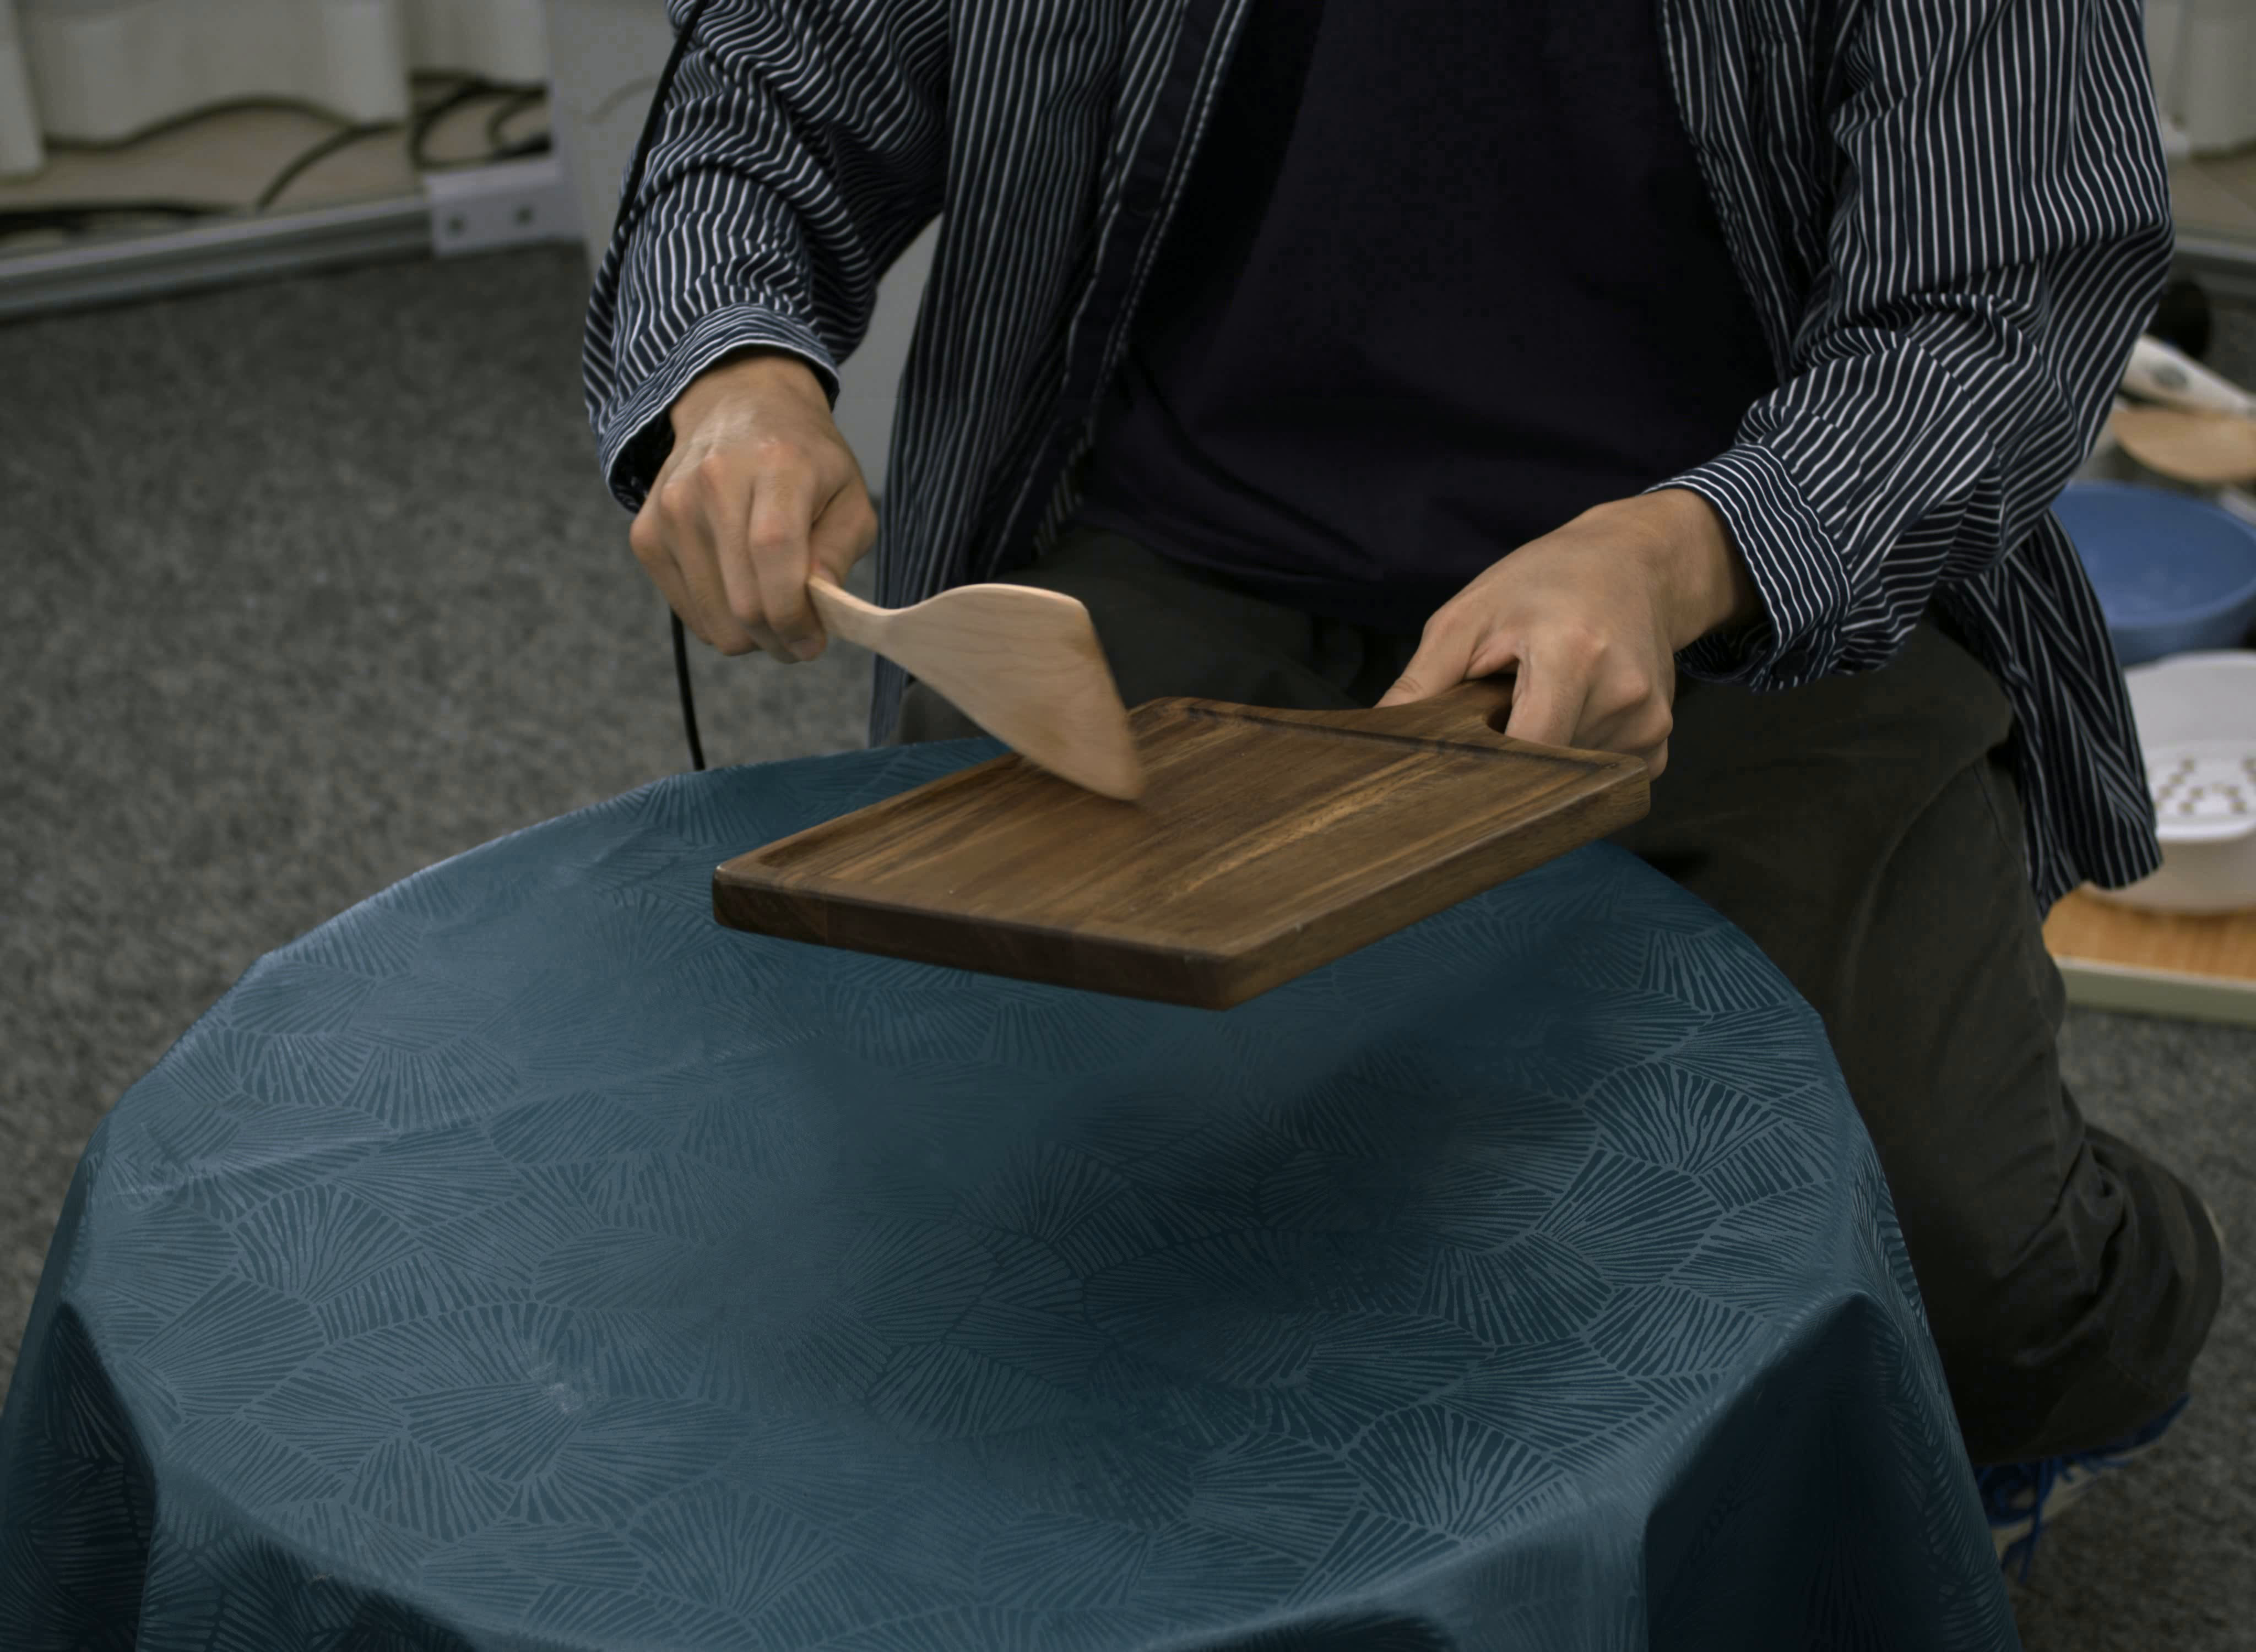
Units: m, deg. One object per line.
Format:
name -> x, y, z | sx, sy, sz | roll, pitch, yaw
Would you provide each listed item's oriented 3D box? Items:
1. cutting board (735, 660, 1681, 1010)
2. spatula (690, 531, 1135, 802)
cutting board -> 0.057, -0.006, 1.799 | 0.199, 0.023, 0.356 | 8, 18, 35
spatula -> -0.080, -0.065, 1.908 | 0.016, 0.079, 0.327 | -30, 23, -18
